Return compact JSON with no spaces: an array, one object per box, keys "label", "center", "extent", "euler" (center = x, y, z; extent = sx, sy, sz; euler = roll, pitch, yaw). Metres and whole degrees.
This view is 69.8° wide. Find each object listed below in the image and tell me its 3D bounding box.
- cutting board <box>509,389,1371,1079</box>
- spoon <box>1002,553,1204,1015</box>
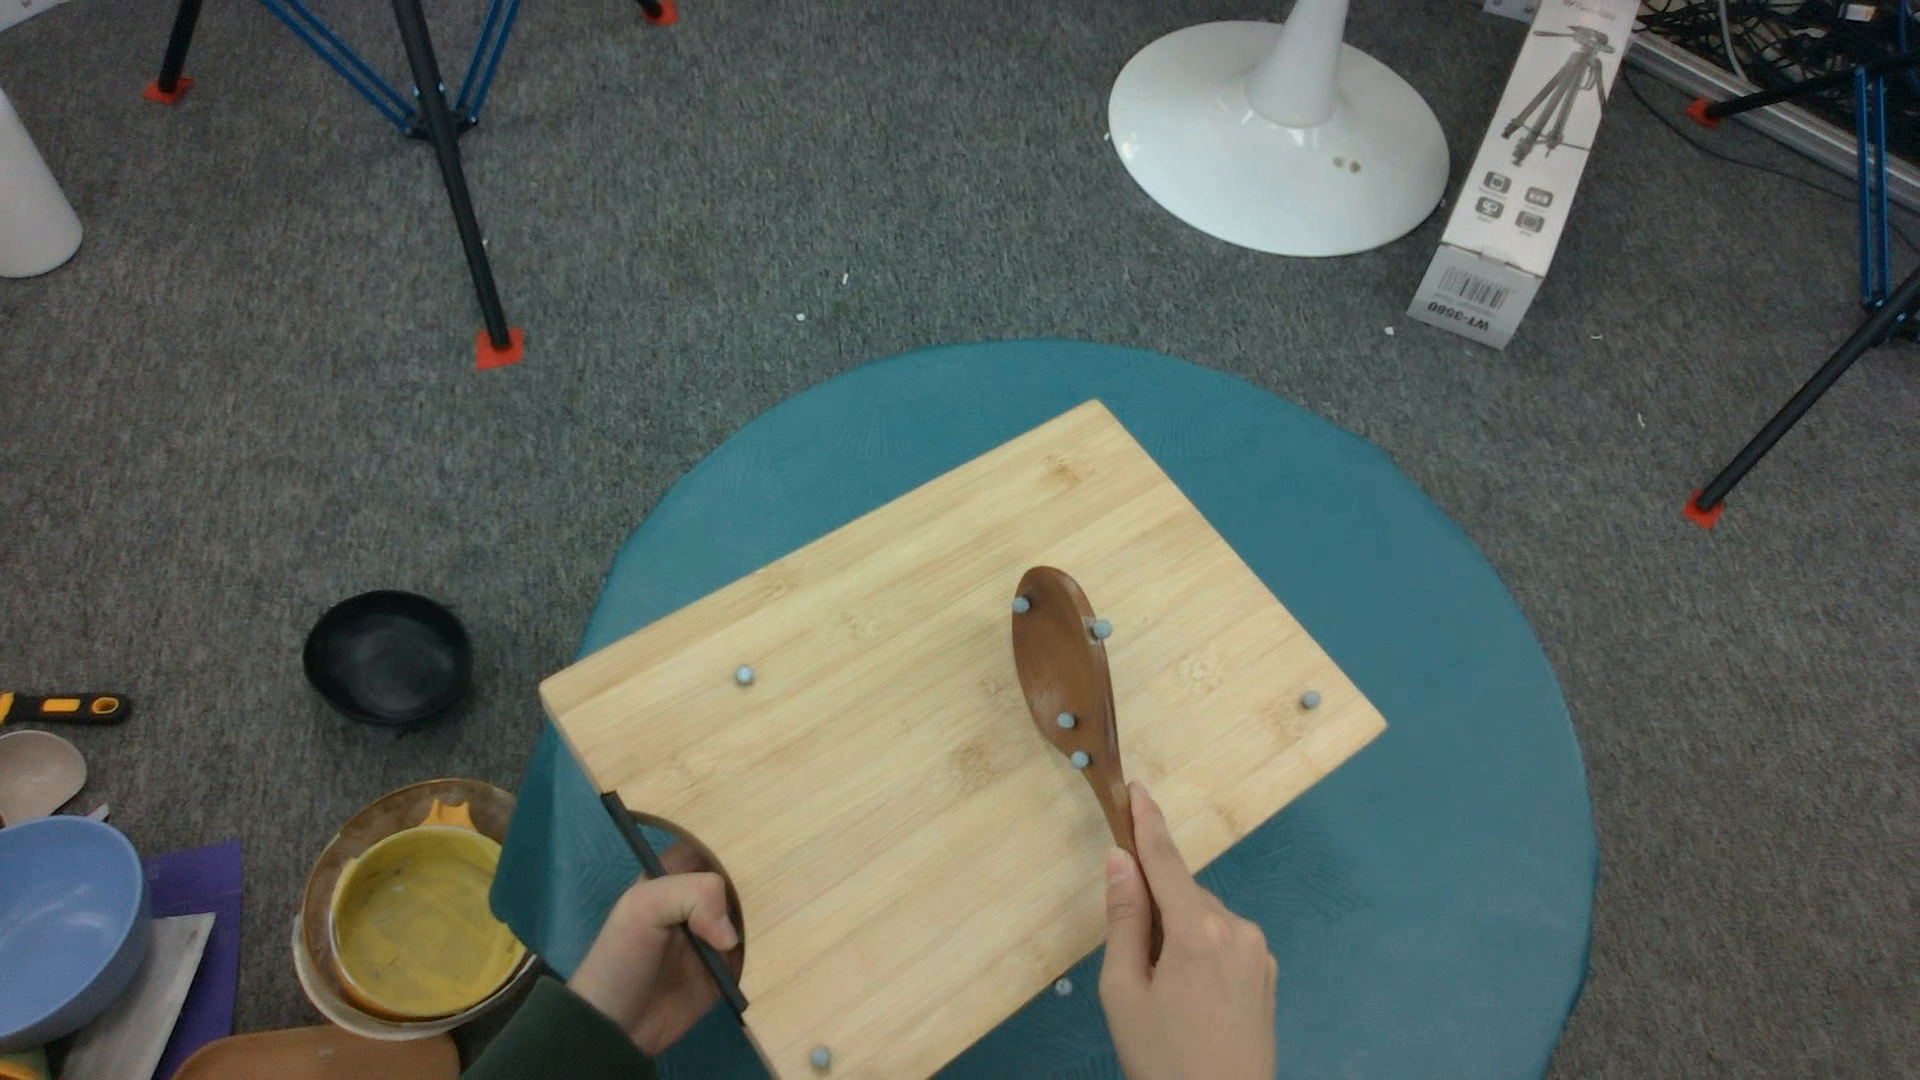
[{"label":"cutting board","center":[0.003,0.080,0.664],"extent":[0.350,0.023,0.251],"euler":[-29,67,-27]},{"label":"spoon","center":[0.063,0.102,0.611],"extent":[0.017,0.075,0.216],"euler":[-2,58,-28]}]
